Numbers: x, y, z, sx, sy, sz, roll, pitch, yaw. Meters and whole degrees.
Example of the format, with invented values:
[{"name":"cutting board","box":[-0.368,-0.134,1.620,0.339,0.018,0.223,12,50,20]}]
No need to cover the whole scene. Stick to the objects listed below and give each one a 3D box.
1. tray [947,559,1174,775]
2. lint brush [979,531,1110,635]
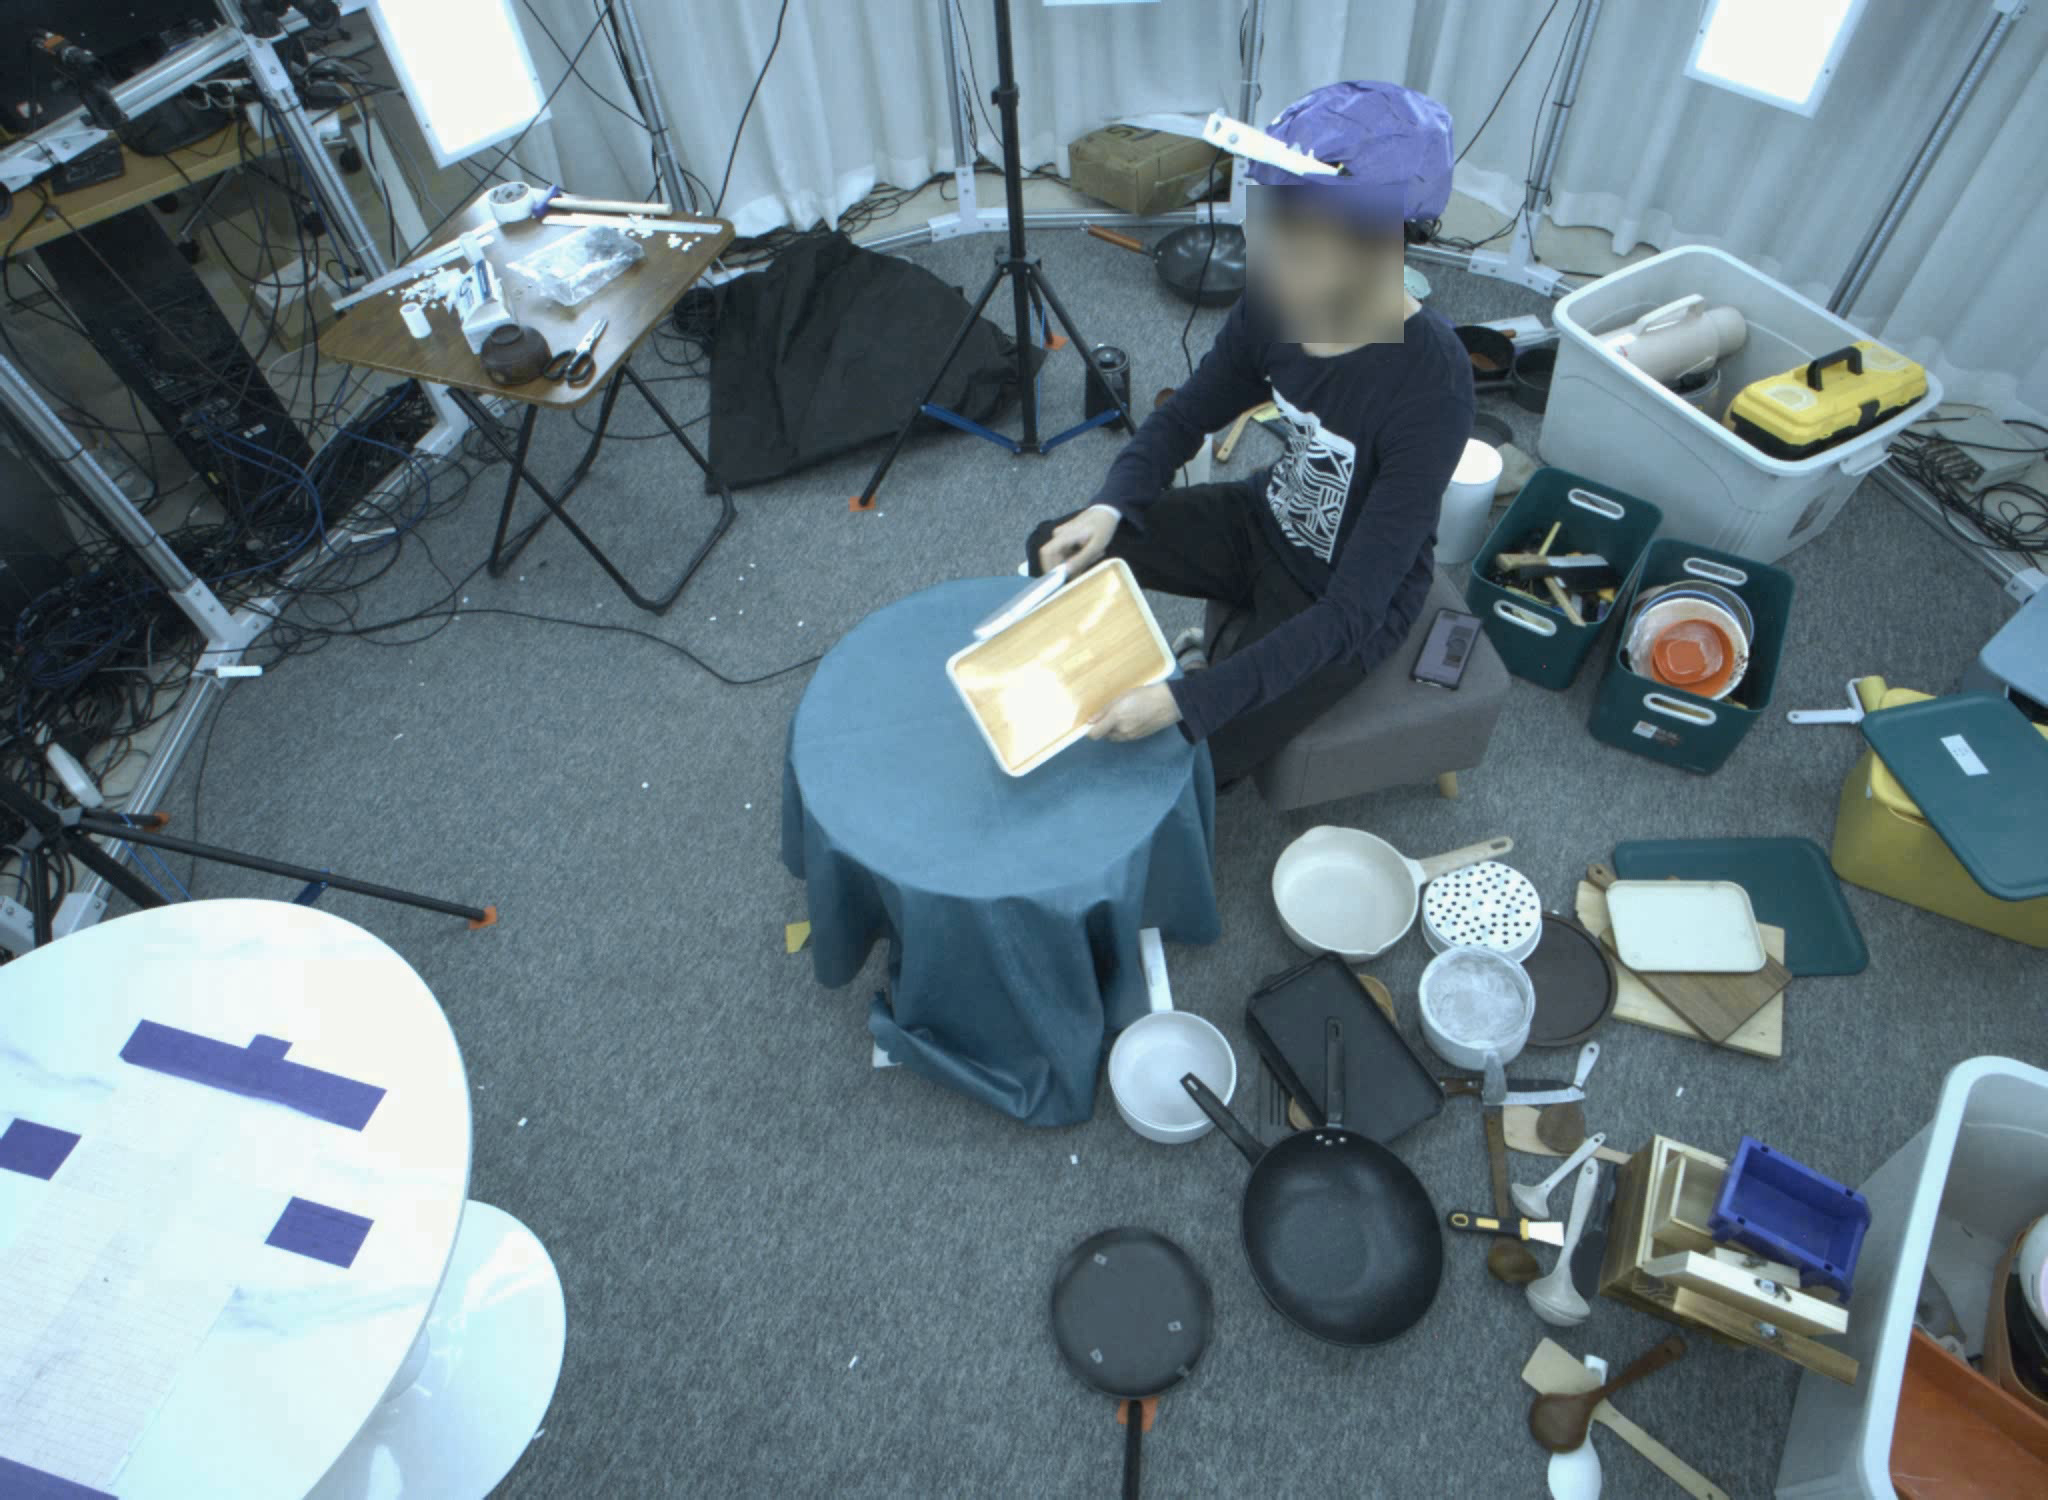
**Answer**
[{"name":"tray","box":[0.056,-0.118,1.713,0.302,0.194,0.027,-33,19,-18]},{"name":"lint brush","box":[0.036,-0.240,1.729,0.311,0.059,0.021,-44,106,-41]}]
